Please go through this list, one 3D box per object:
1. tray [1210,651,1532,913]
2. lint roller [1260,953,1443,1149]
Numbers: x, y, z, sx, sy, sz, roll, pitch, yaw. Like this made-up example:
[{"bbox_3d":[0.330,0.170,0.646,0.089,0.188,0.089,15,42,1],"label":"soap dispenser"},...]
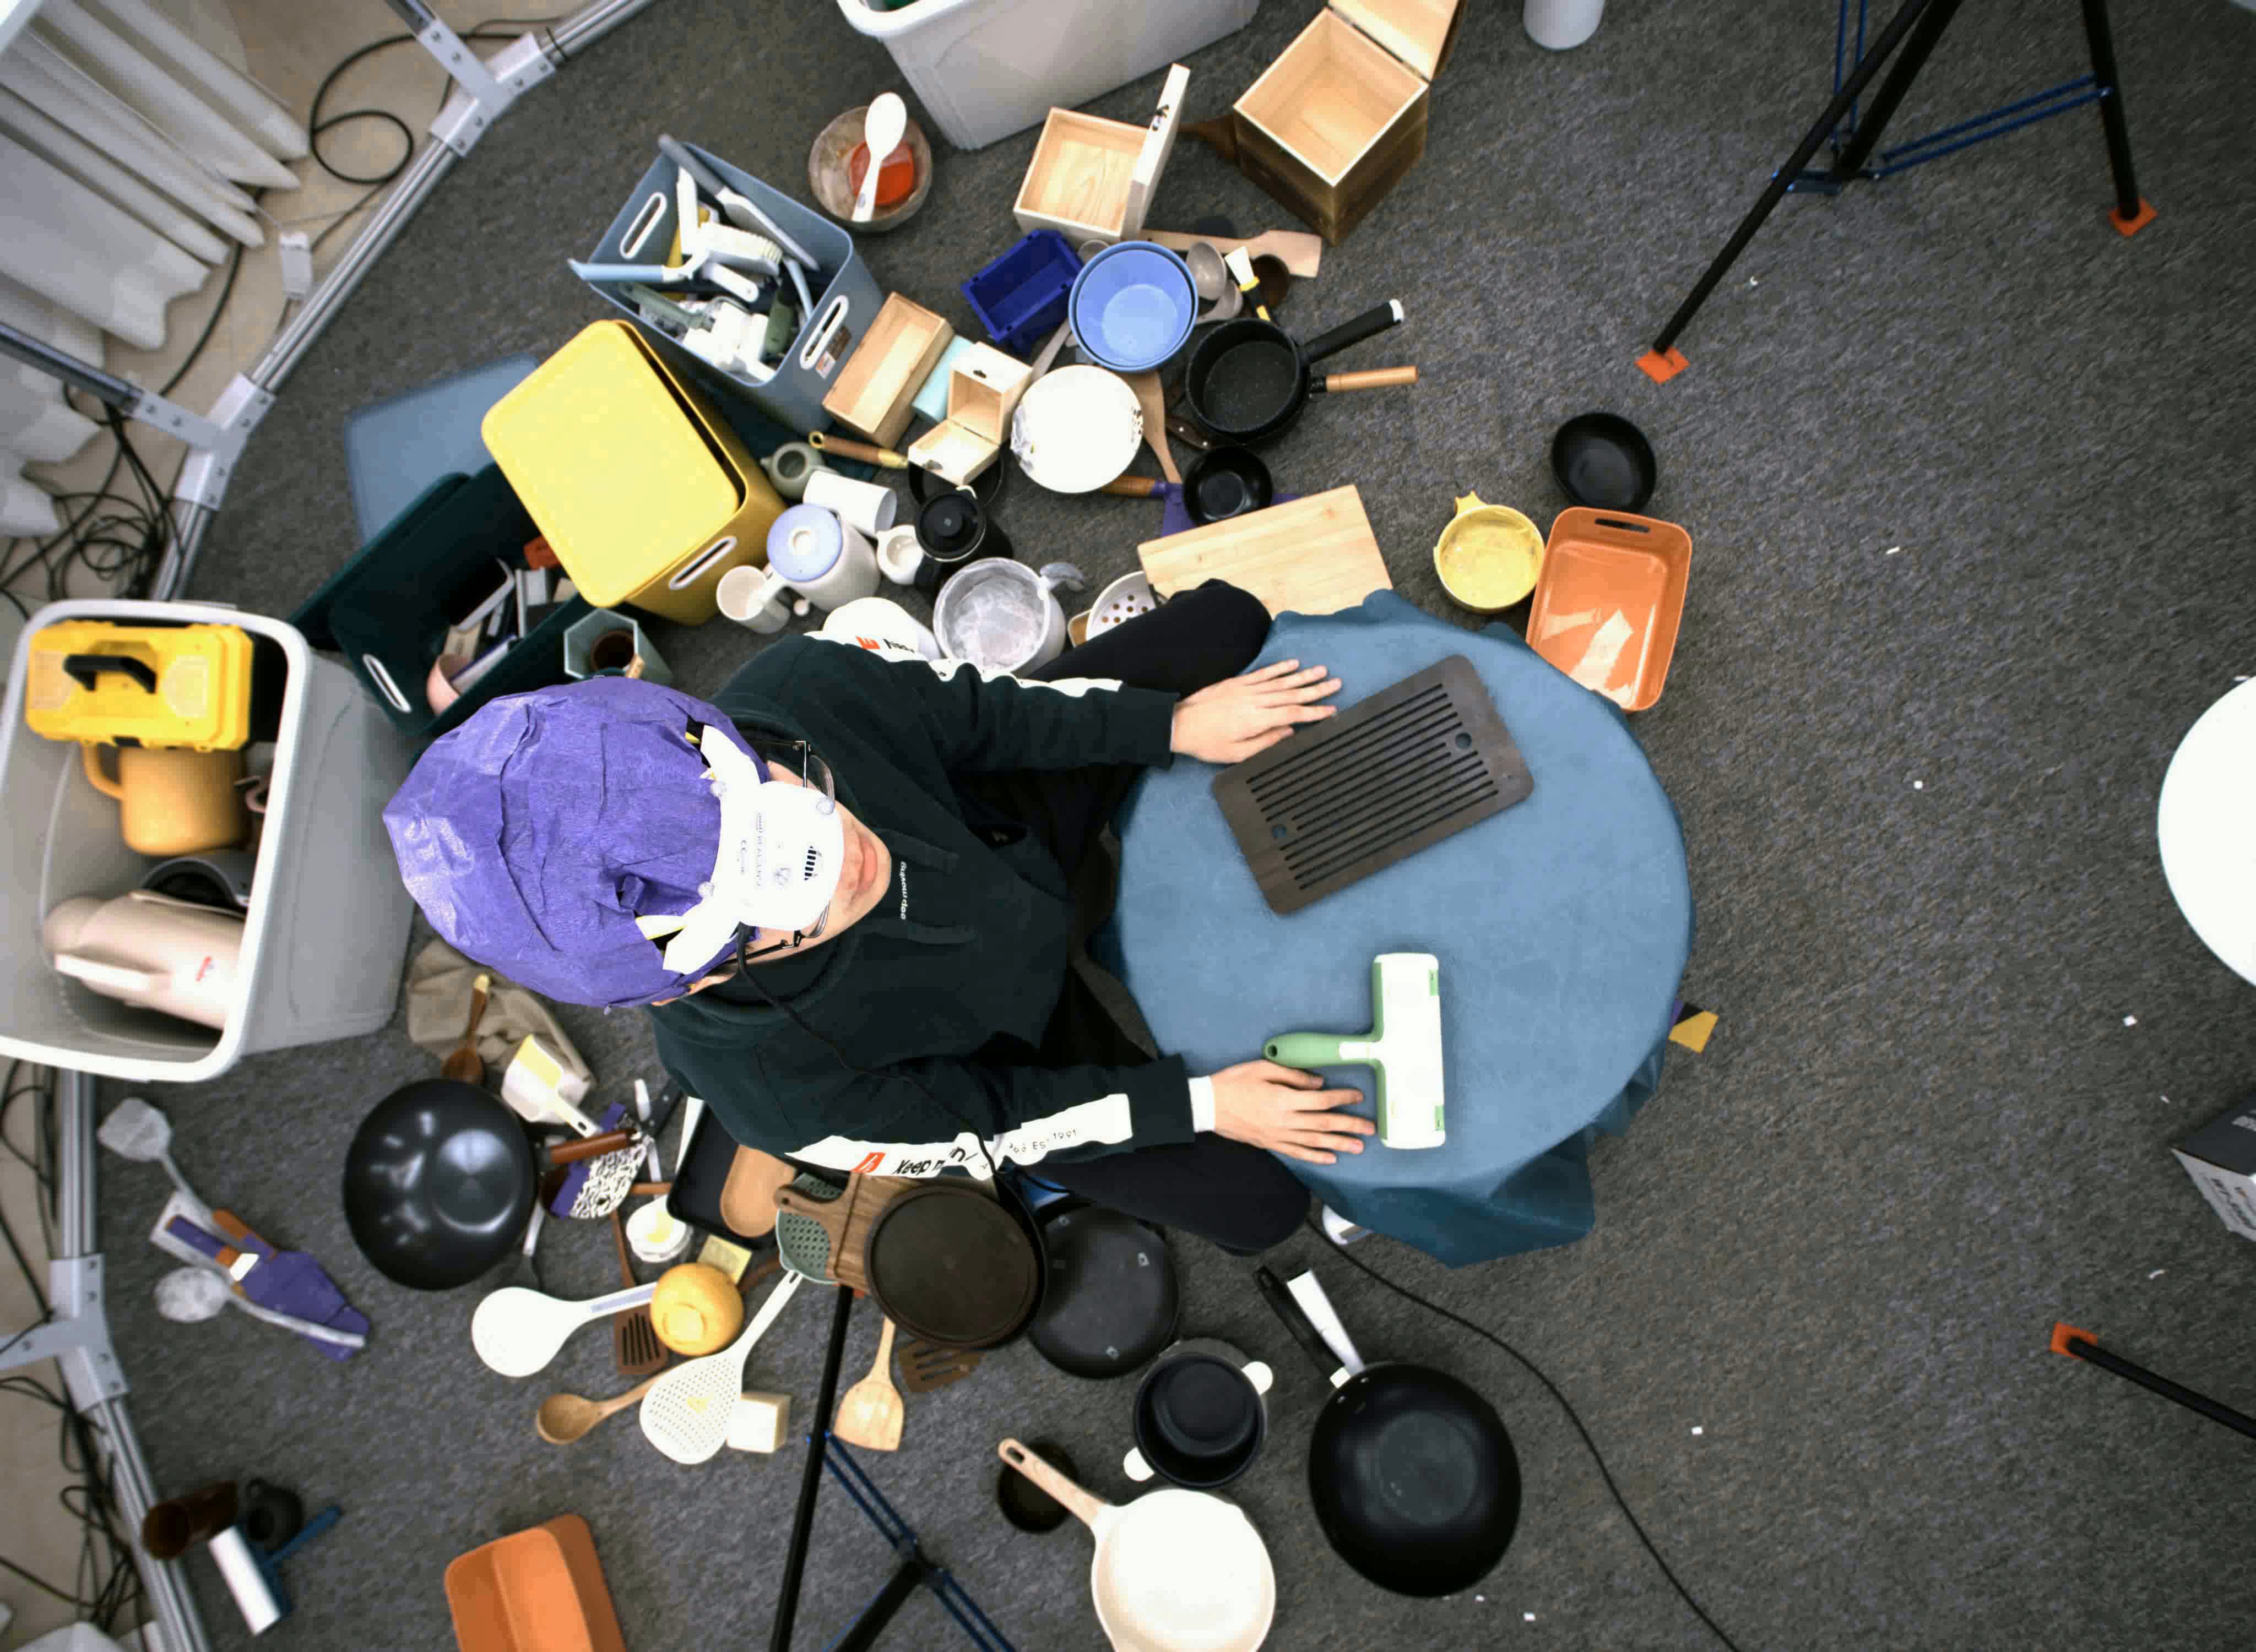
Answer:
[{"bbox_3d":[0.254,-0.047,1.455,0.308,0.018,0.169,-27,83,8],"label":"tray"},{"bbox_3d":[0.226,0.229,1.415,0.184,0.082,0.198,-2,87,7],"label":"lint roller"}]
